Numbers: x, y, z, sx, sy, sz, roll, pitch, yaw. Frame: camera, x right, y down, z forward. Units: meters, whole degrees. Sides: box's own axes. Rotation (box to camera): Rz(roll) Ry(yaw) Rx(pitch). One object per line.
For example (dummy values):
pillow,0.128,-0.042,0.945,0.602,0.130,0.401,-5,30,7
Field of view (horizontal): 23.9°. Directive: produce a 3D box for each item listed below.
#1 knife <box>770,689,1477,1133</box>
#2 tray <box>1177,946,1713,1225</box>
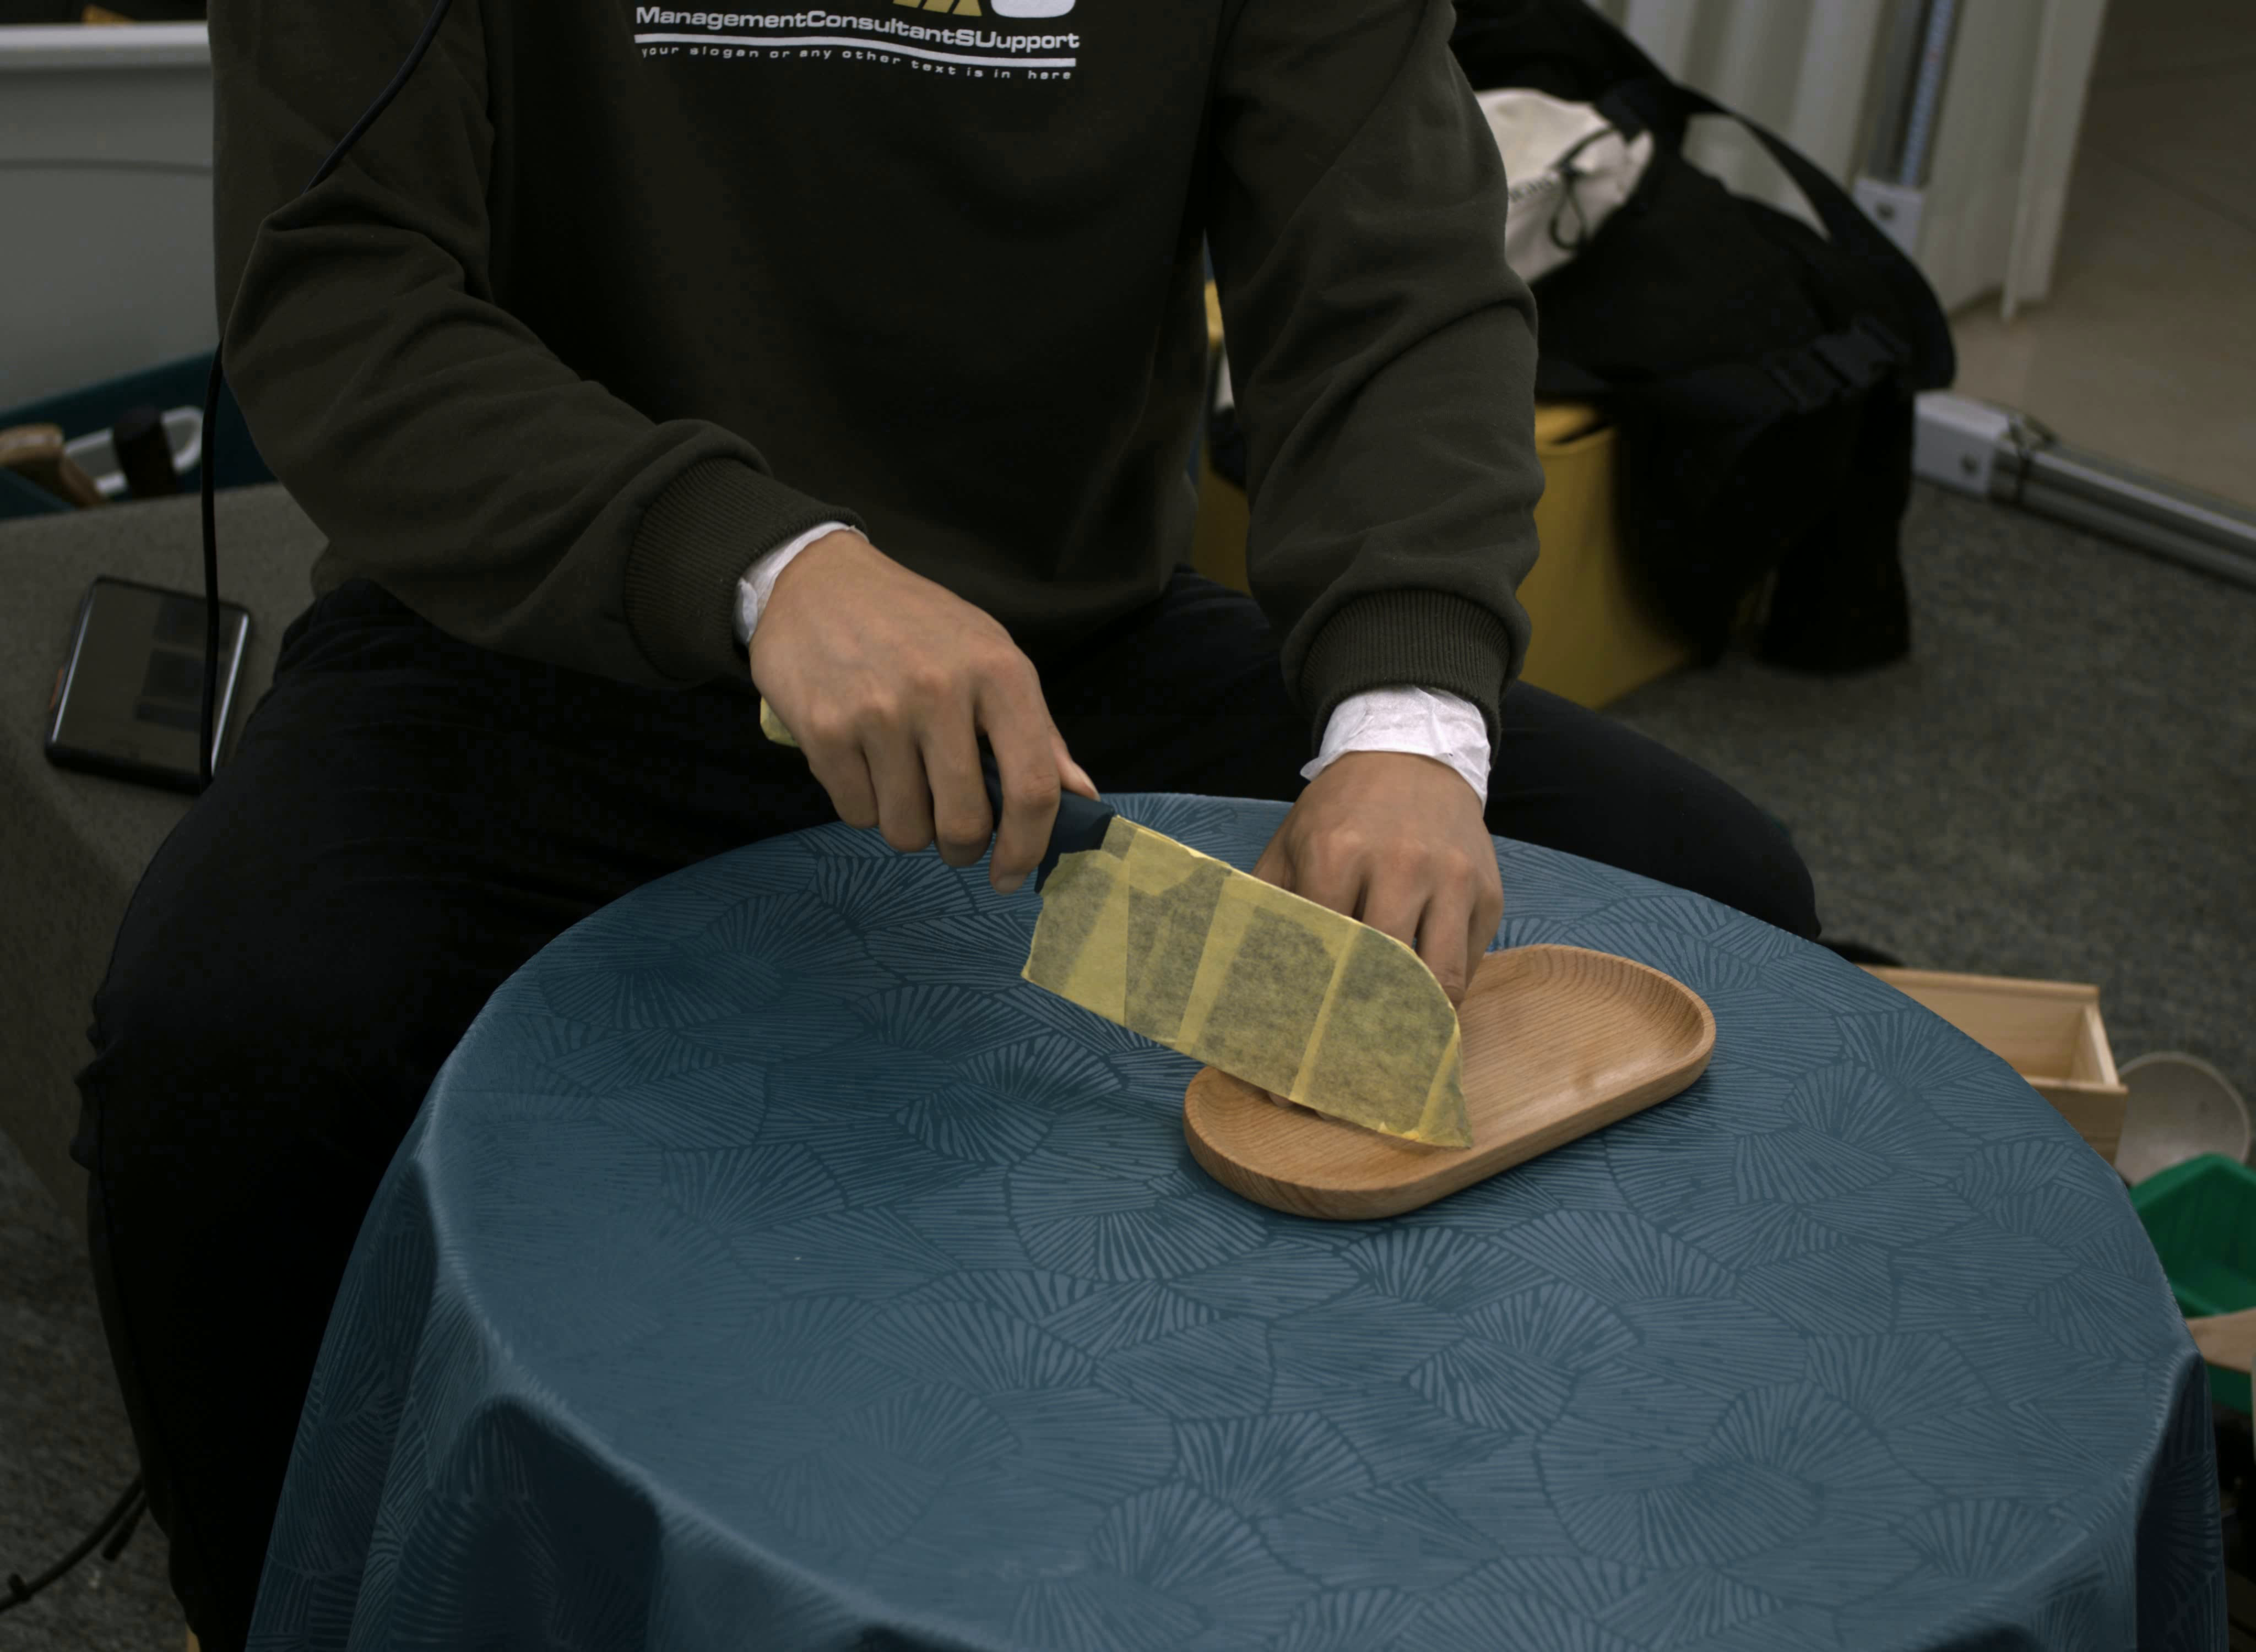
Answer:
knife,-0.005,0.029,1.859,0.290,0.081,0.027,28,21,16
tray,0.114,0.091,1.878,0.230,0.020,0.102,-21,36,-40
